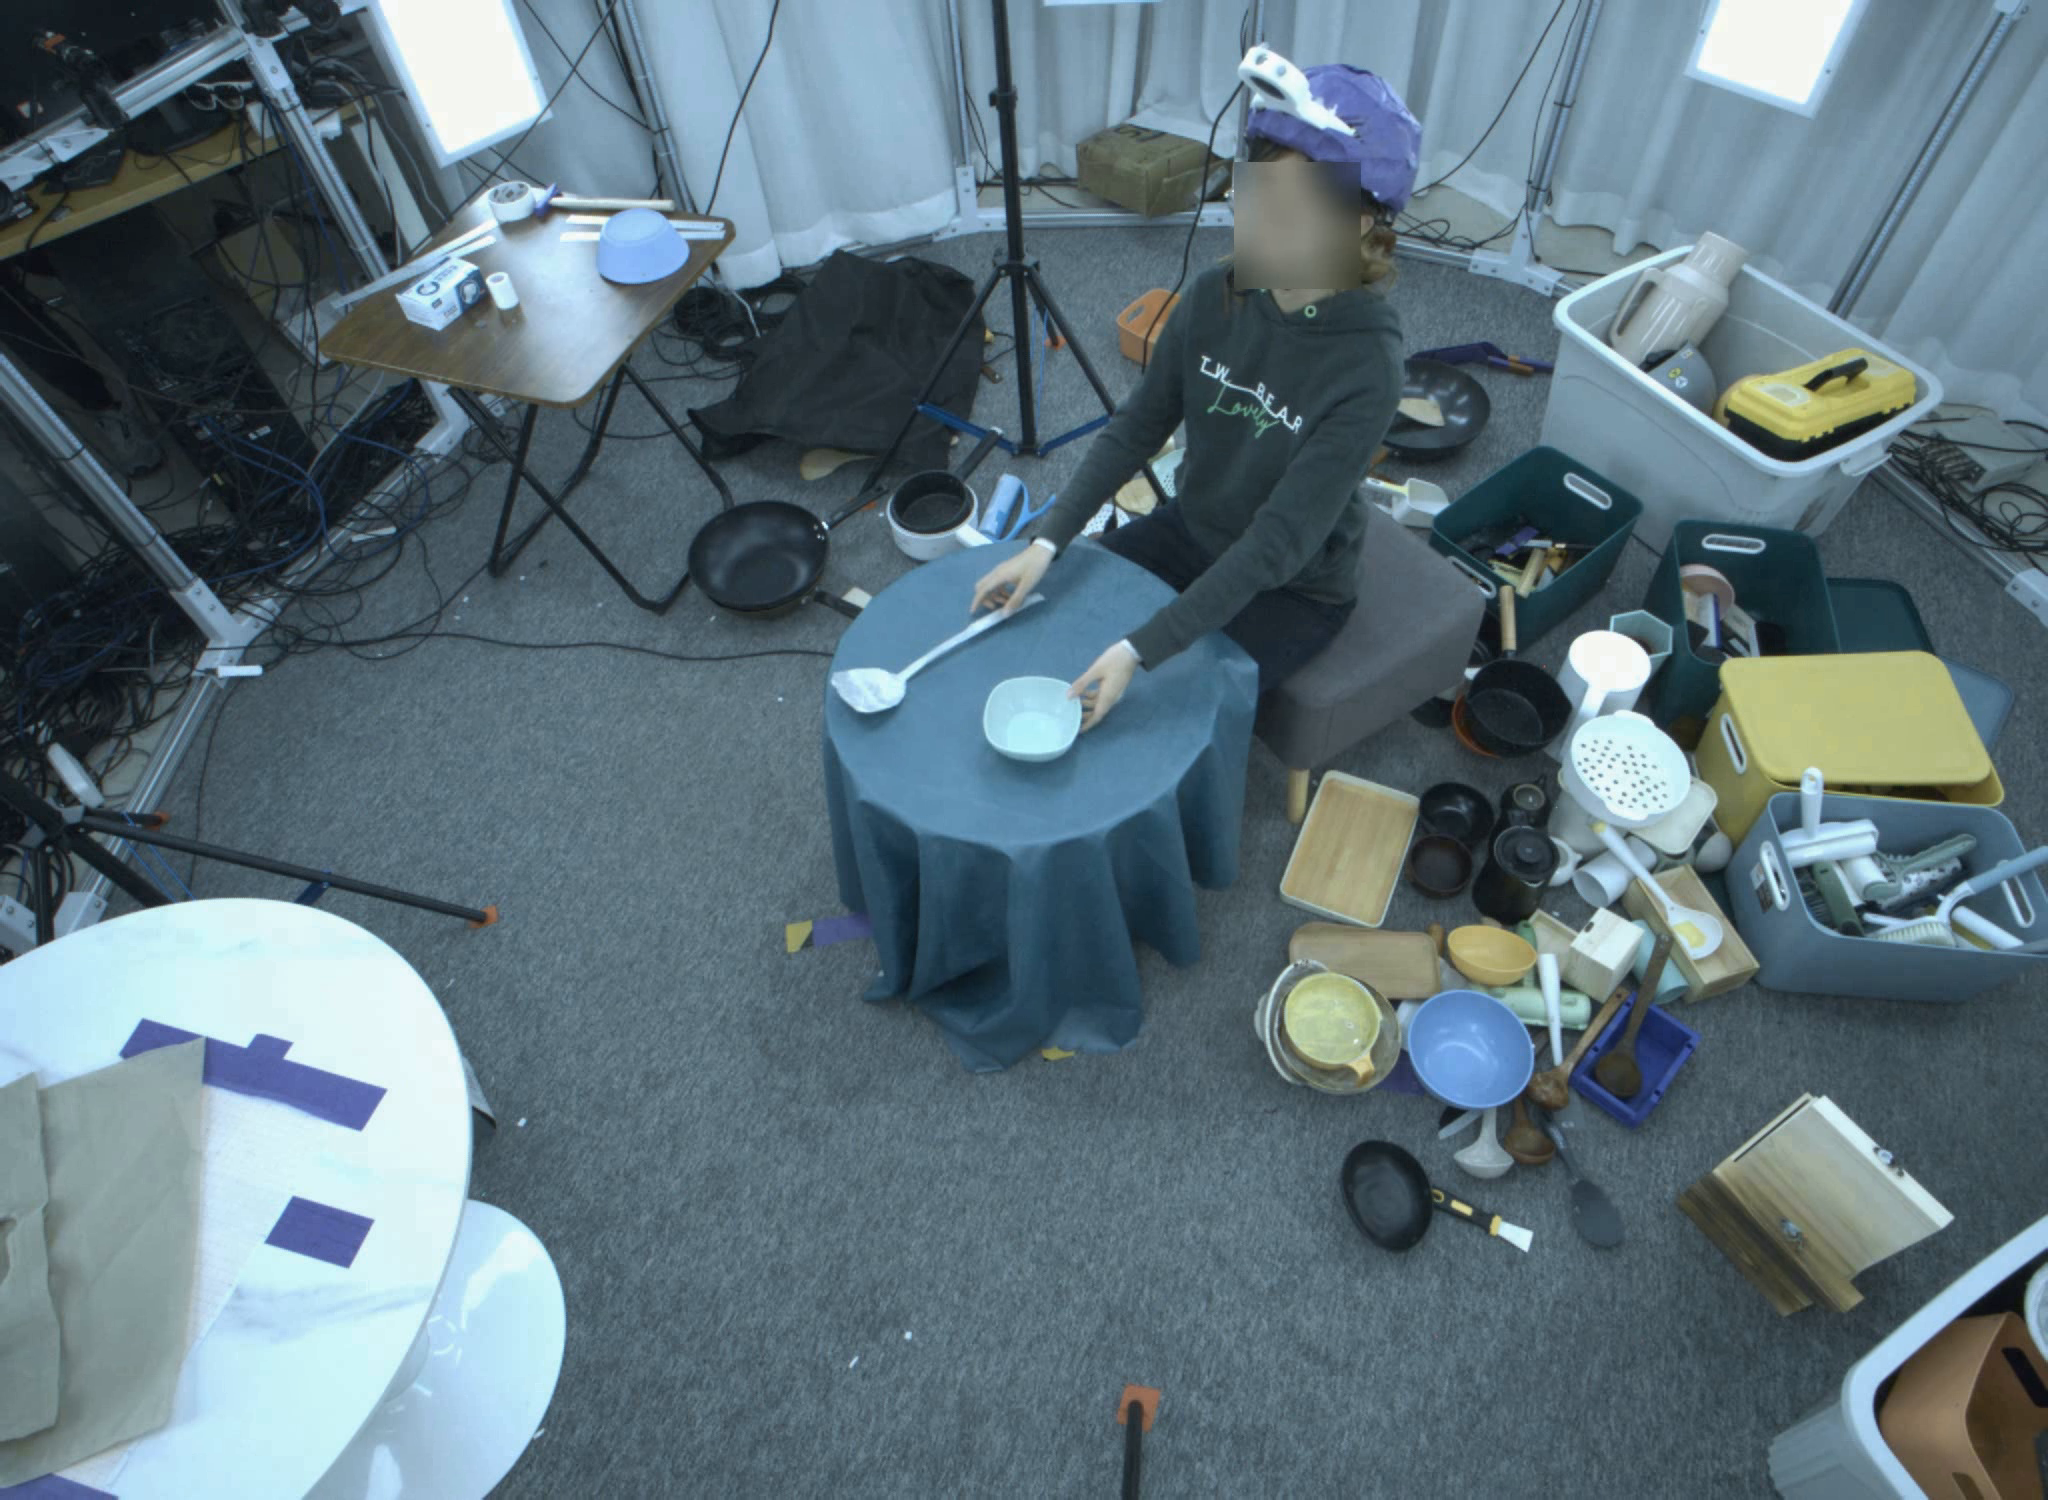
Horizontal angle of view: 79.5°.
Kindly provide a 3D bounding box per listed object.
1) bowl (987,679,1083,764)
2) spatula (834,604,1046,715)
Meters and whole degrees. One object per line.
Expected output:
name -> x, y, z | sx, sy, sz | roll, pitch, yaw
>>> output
bowl -> 0.018, -0.031, 1.785 | 0.151, 0.059, 0.150 | -1, 57, 3
spatula -> -0.121, -0.153, 1.885 | 0.368, 0.045, 0.097 | -32, 58, -19
